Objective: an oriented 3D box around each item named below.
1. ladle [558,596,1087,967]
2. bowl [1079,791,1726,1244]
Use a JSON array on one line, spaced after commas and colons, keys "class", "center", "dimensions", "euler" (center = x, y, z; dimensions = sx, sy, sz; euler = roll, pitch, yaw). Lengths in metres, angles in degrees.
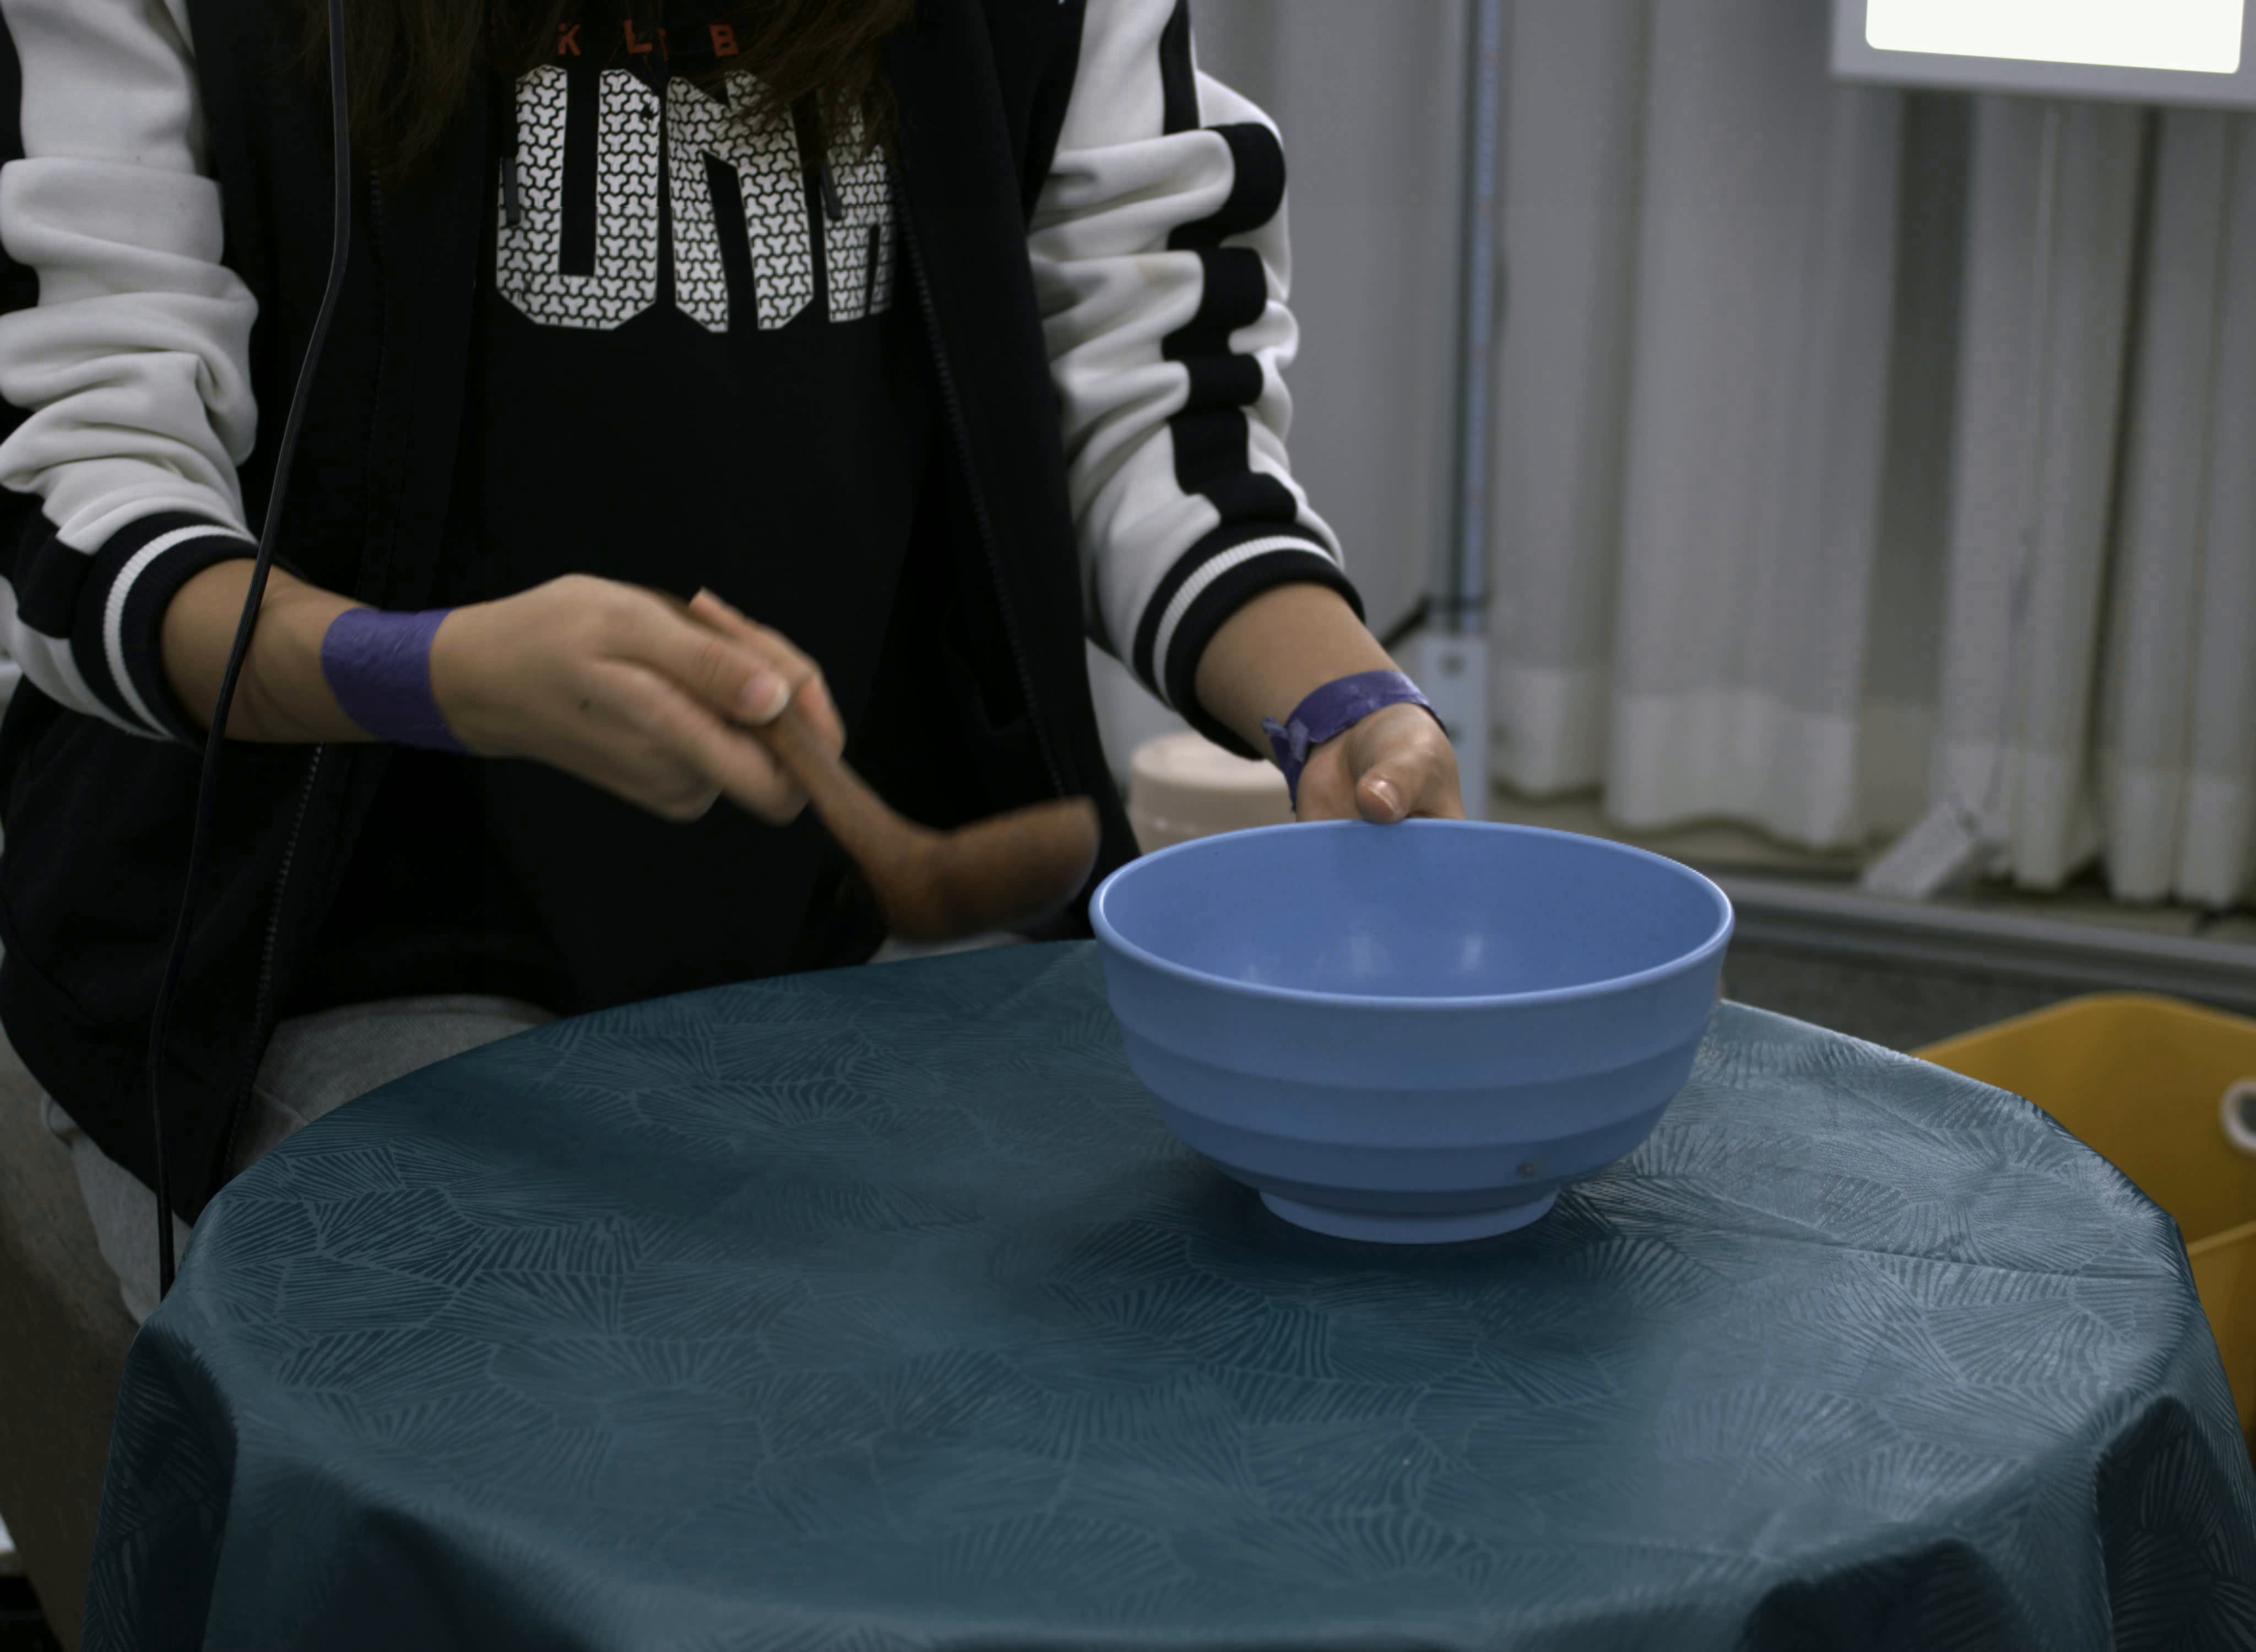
[{"class": "ladle", "center": [-0.100, -0.029, 1.550], "dimensions": [0.077, 0.066, 0.256], "euler": [-11, 35, -32]}, {"class": "bowl", "center": [0.085, 0.066, 1.615], "dimensions": [0.196, 0.096, 0.195], "euler": [-2, 21, 1]}]
